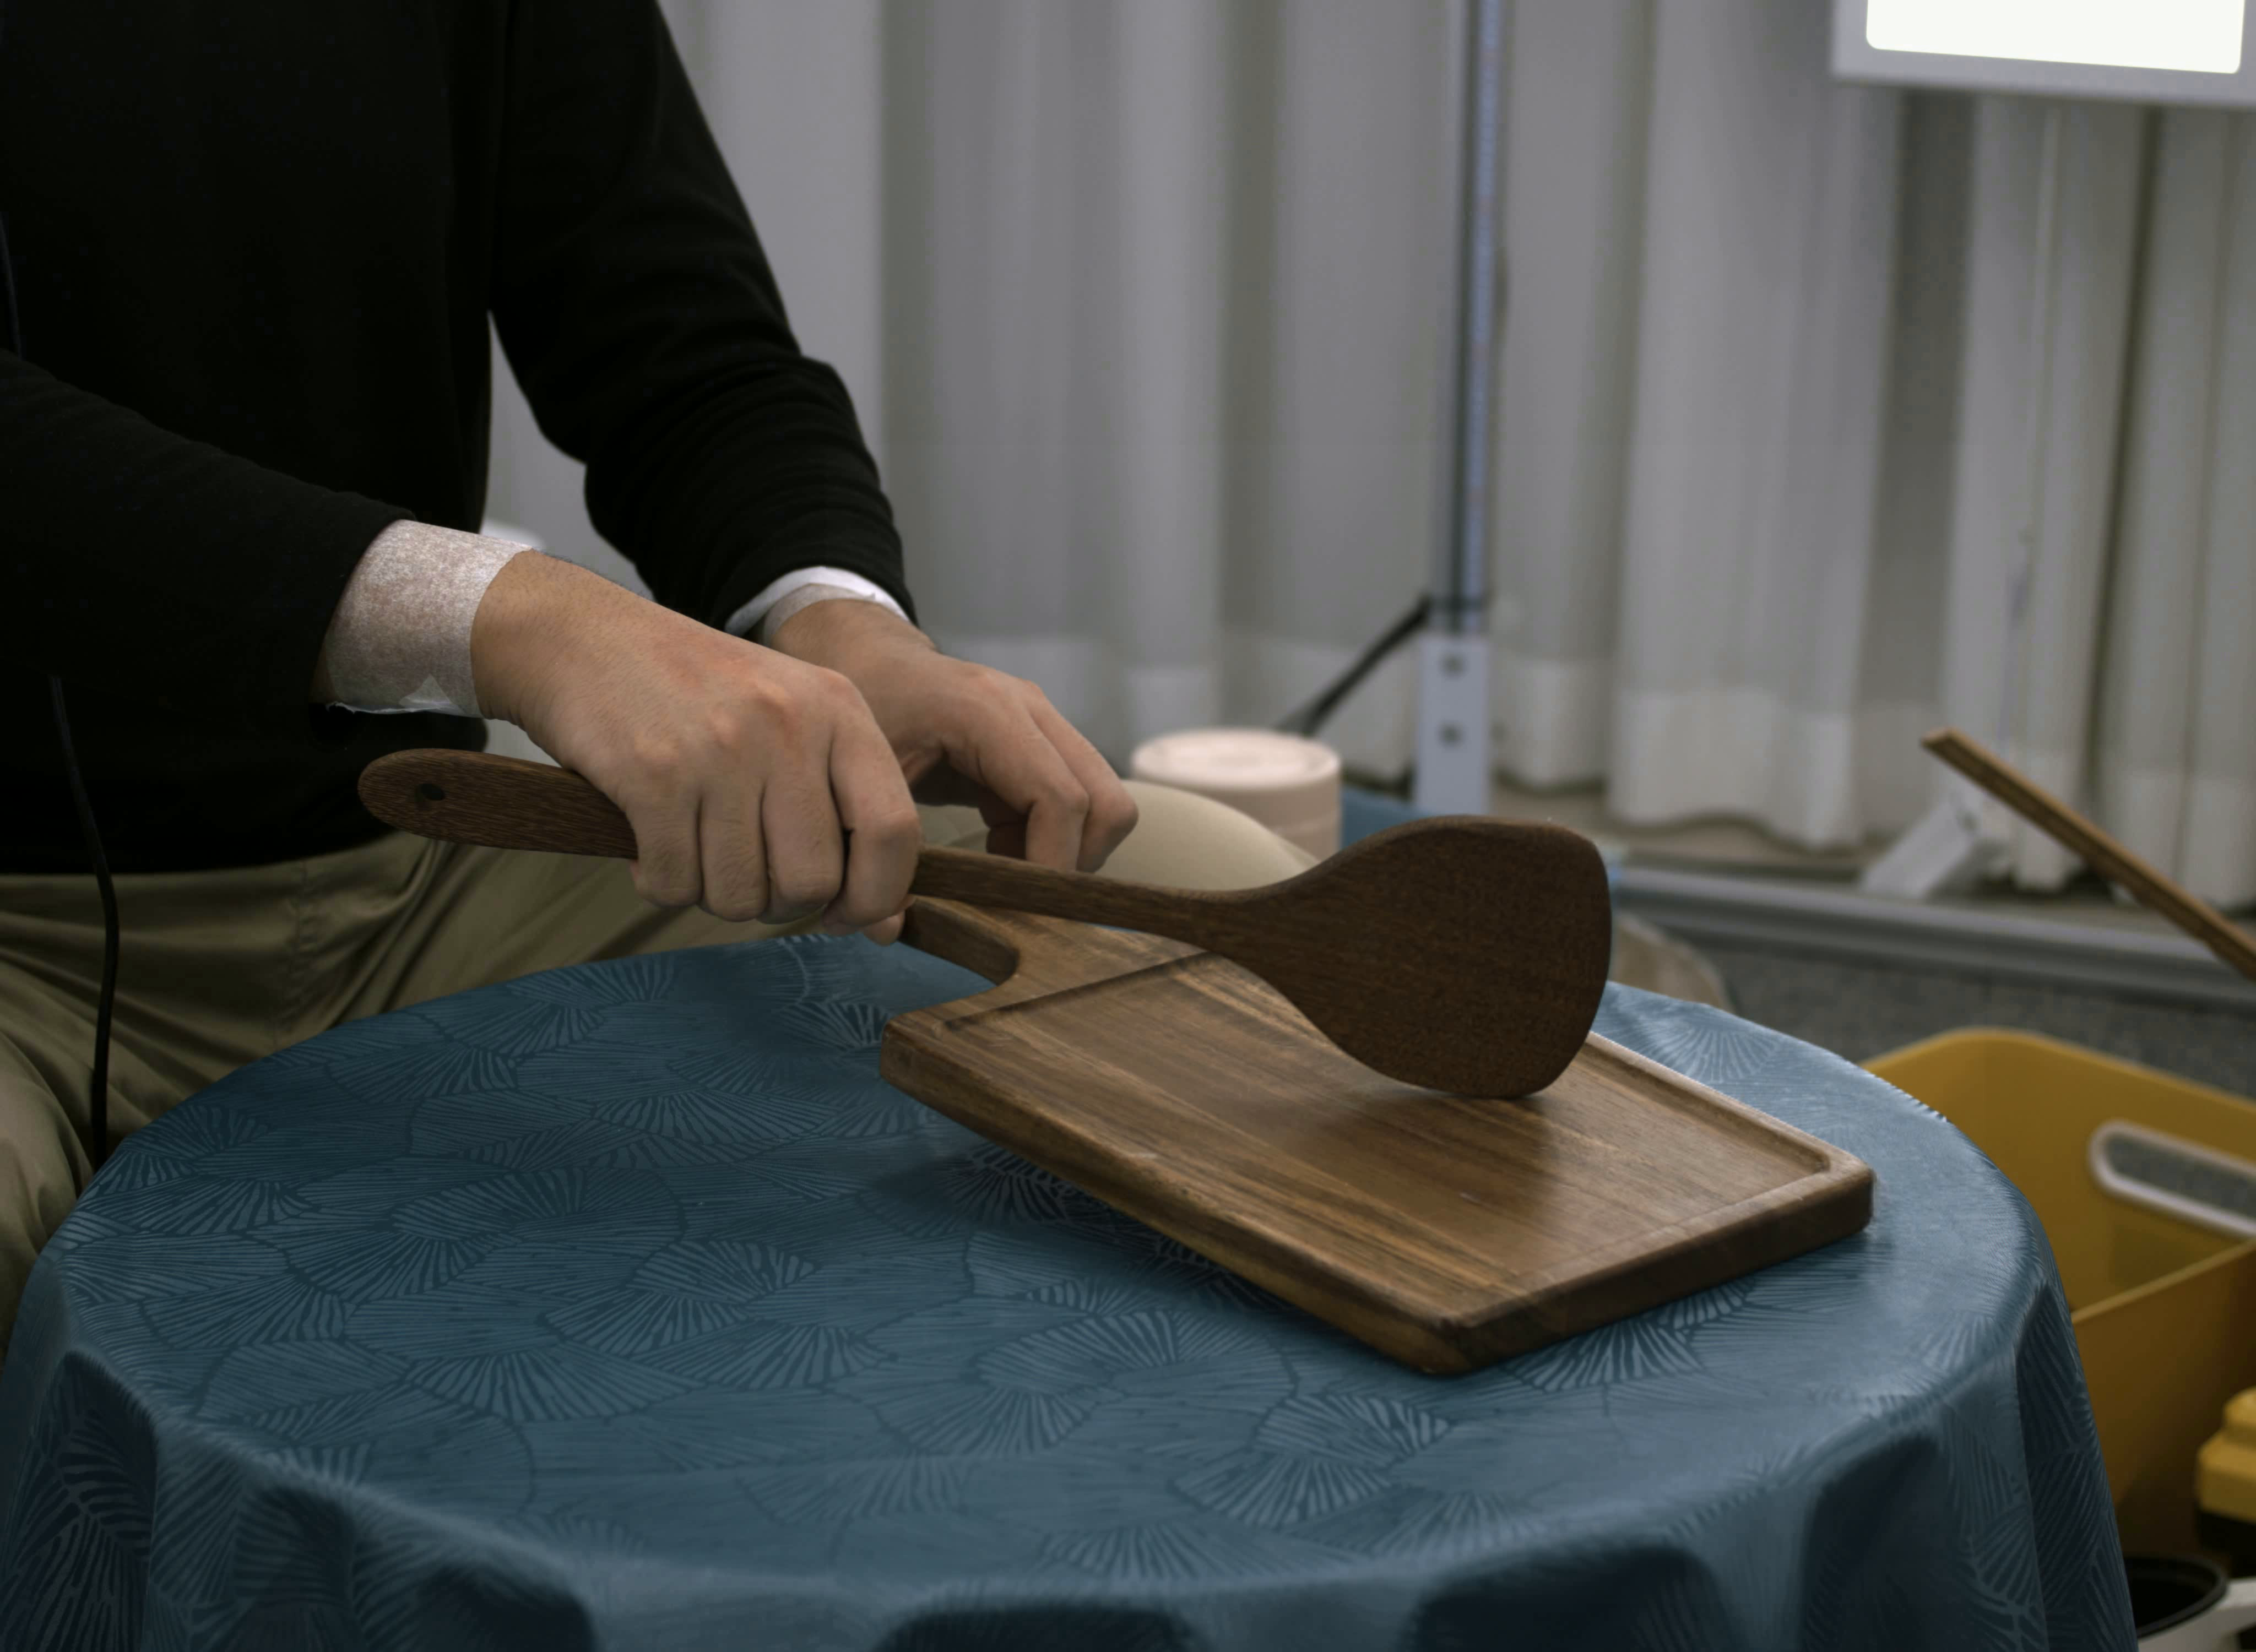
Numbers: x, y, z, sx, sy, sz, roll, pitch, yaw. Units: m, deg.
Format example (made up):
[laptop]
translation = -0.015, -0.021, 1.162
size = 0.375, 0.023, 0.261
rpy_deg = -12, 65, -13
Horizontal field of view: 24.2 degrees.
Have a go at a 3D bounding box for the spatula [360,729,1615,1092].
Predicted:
[spatula]
translation = -0.043, 0.013, 1.604
size = 0.385, 0.097, 0.015
rpy_deg = 10, 24, 0

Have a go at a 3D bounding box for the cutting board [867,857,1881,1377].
[cutting board]
translation = 0.042, 0.075, 1.640
size = 0.202, 0.023, 0.347
rpy_deg = -14, 28, -42
